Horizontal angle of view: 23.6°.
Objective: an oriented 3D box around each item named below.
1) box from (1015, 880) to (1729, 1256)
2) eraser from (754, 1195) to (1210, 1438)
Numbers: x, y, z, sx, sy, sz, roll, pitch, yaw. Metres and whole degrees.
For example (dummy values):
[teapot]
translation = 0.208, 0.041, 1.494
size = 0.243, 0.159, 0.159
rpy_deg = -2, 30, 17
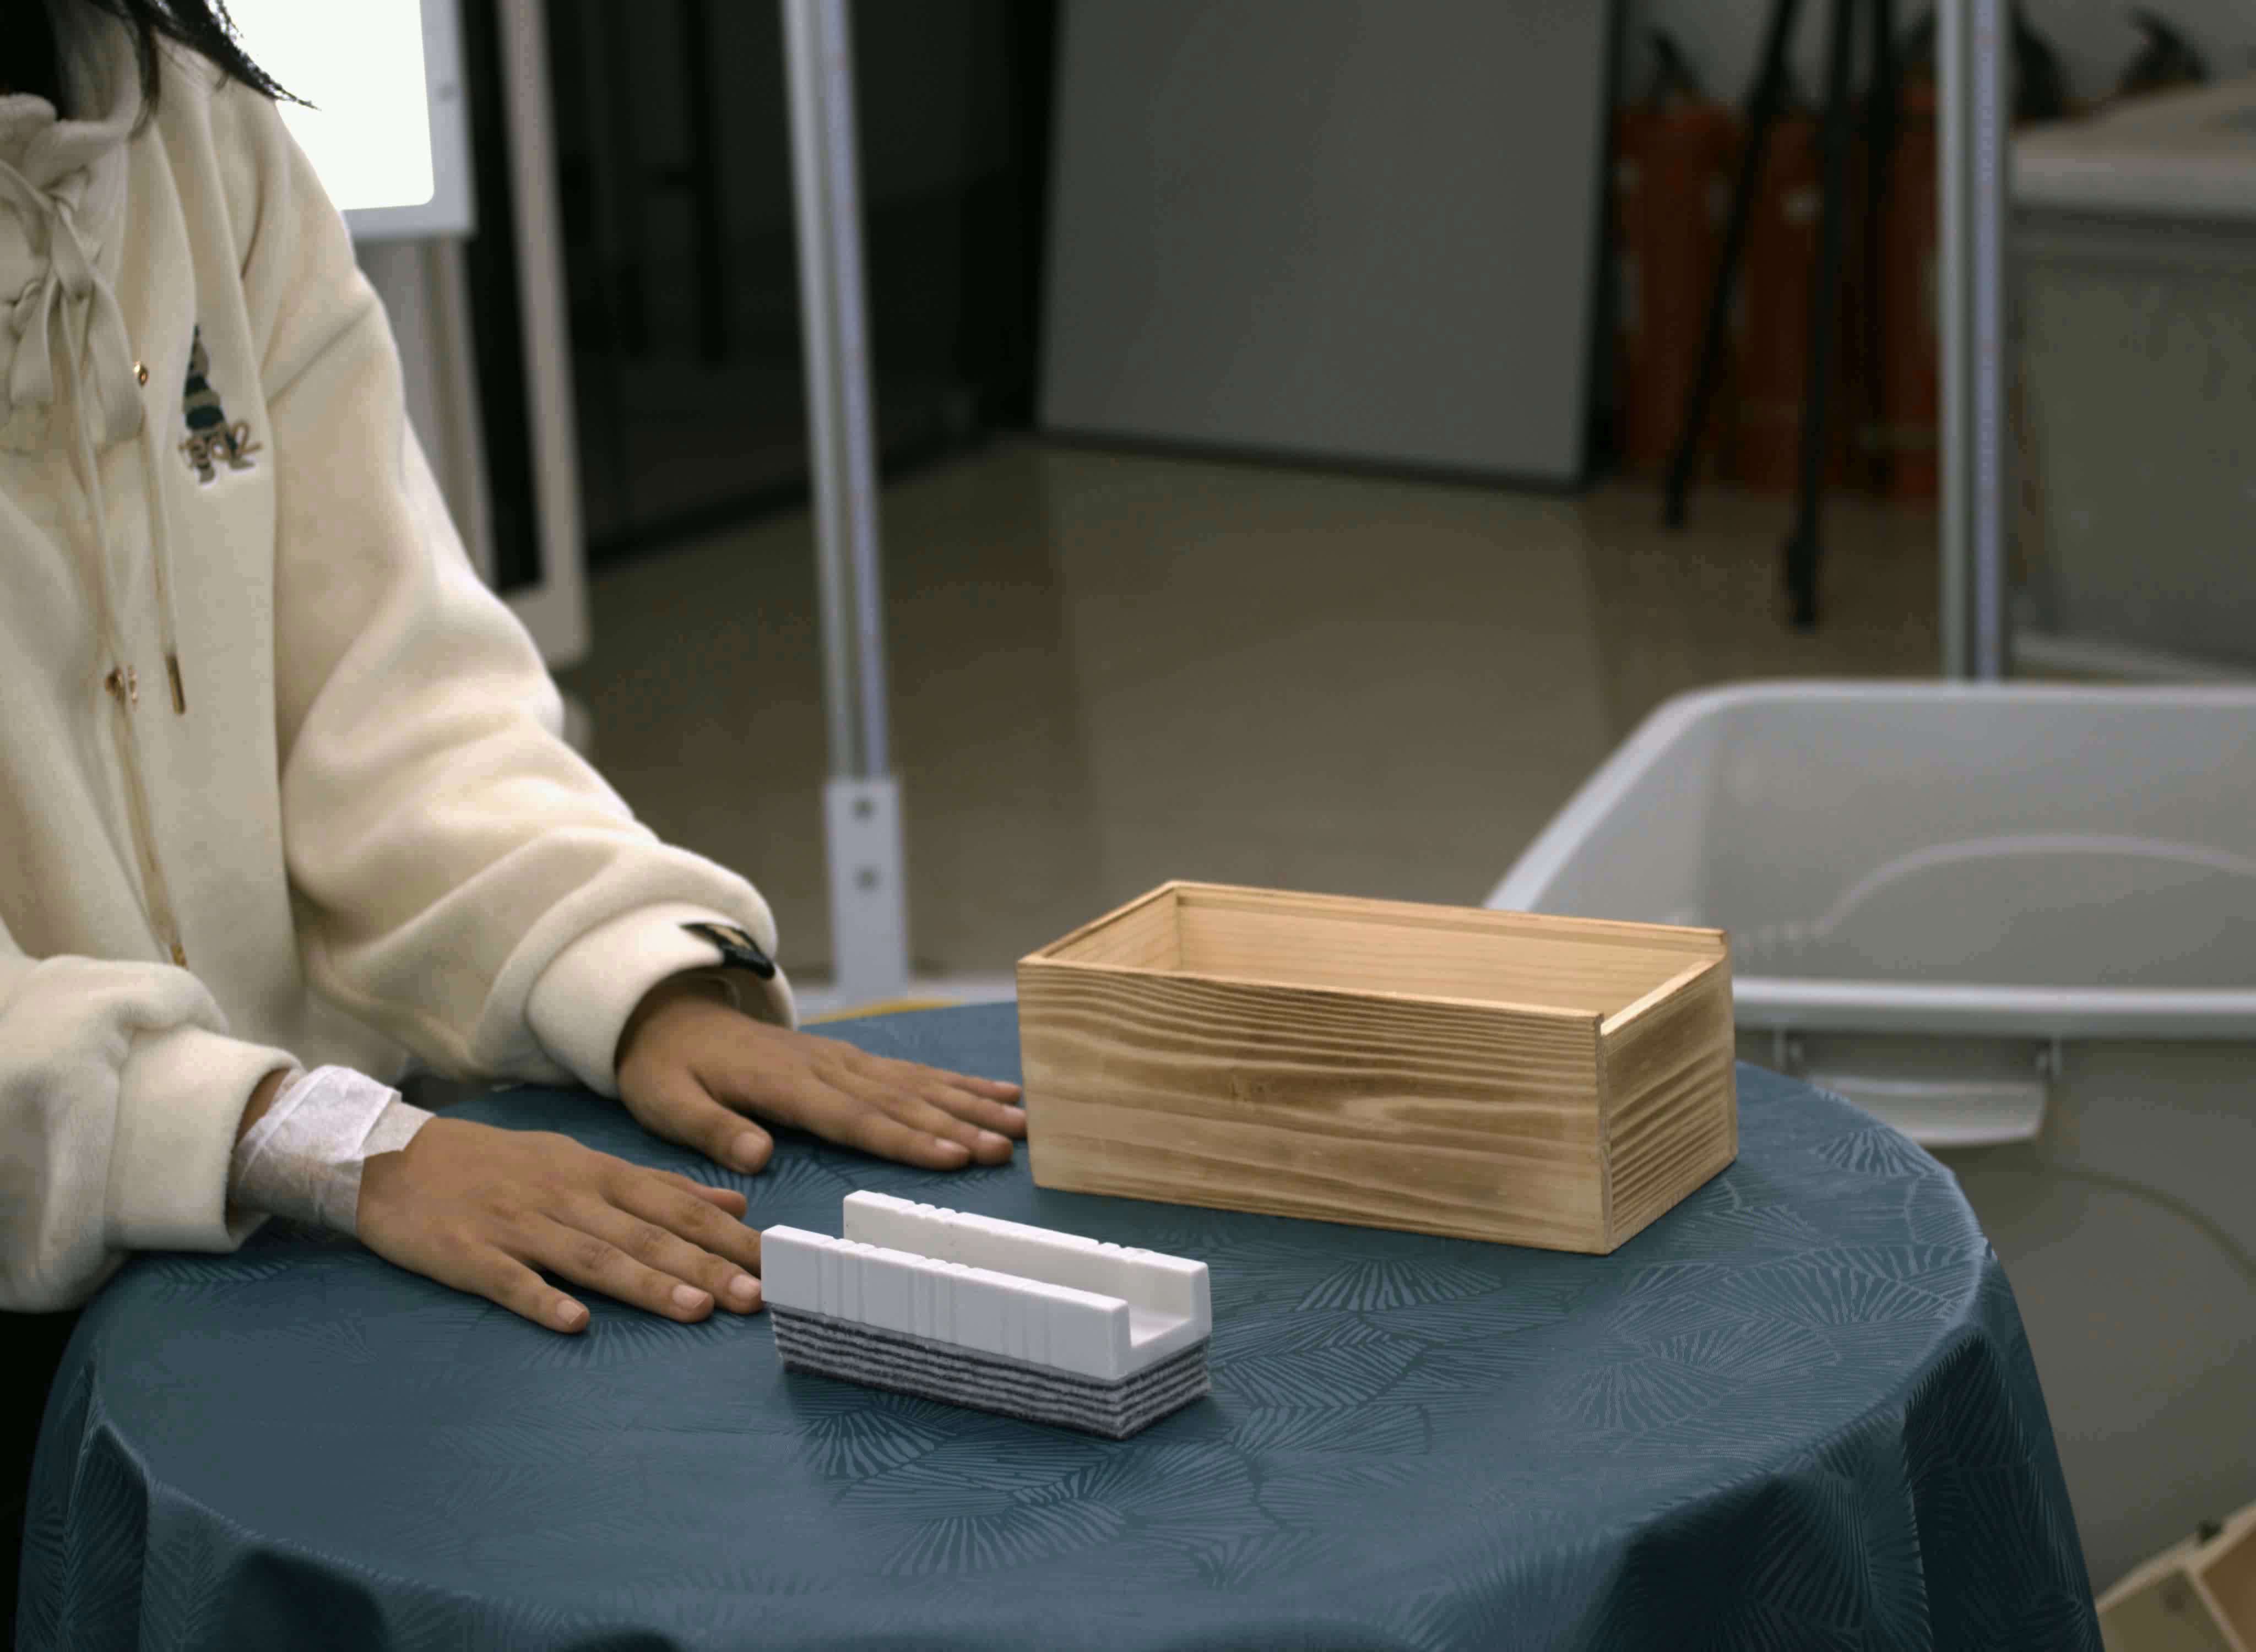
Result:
[box]
translation = 0.080, 0.077, 1.761
size = 0.212, 0.081, 0.106
rpy_deg = 5, 16, 30
[eraser]
translation = -0.043, 0.144, 1.592
size = 0.135, 0.047, 0.049
rpy_deg = 8, 19, 35
